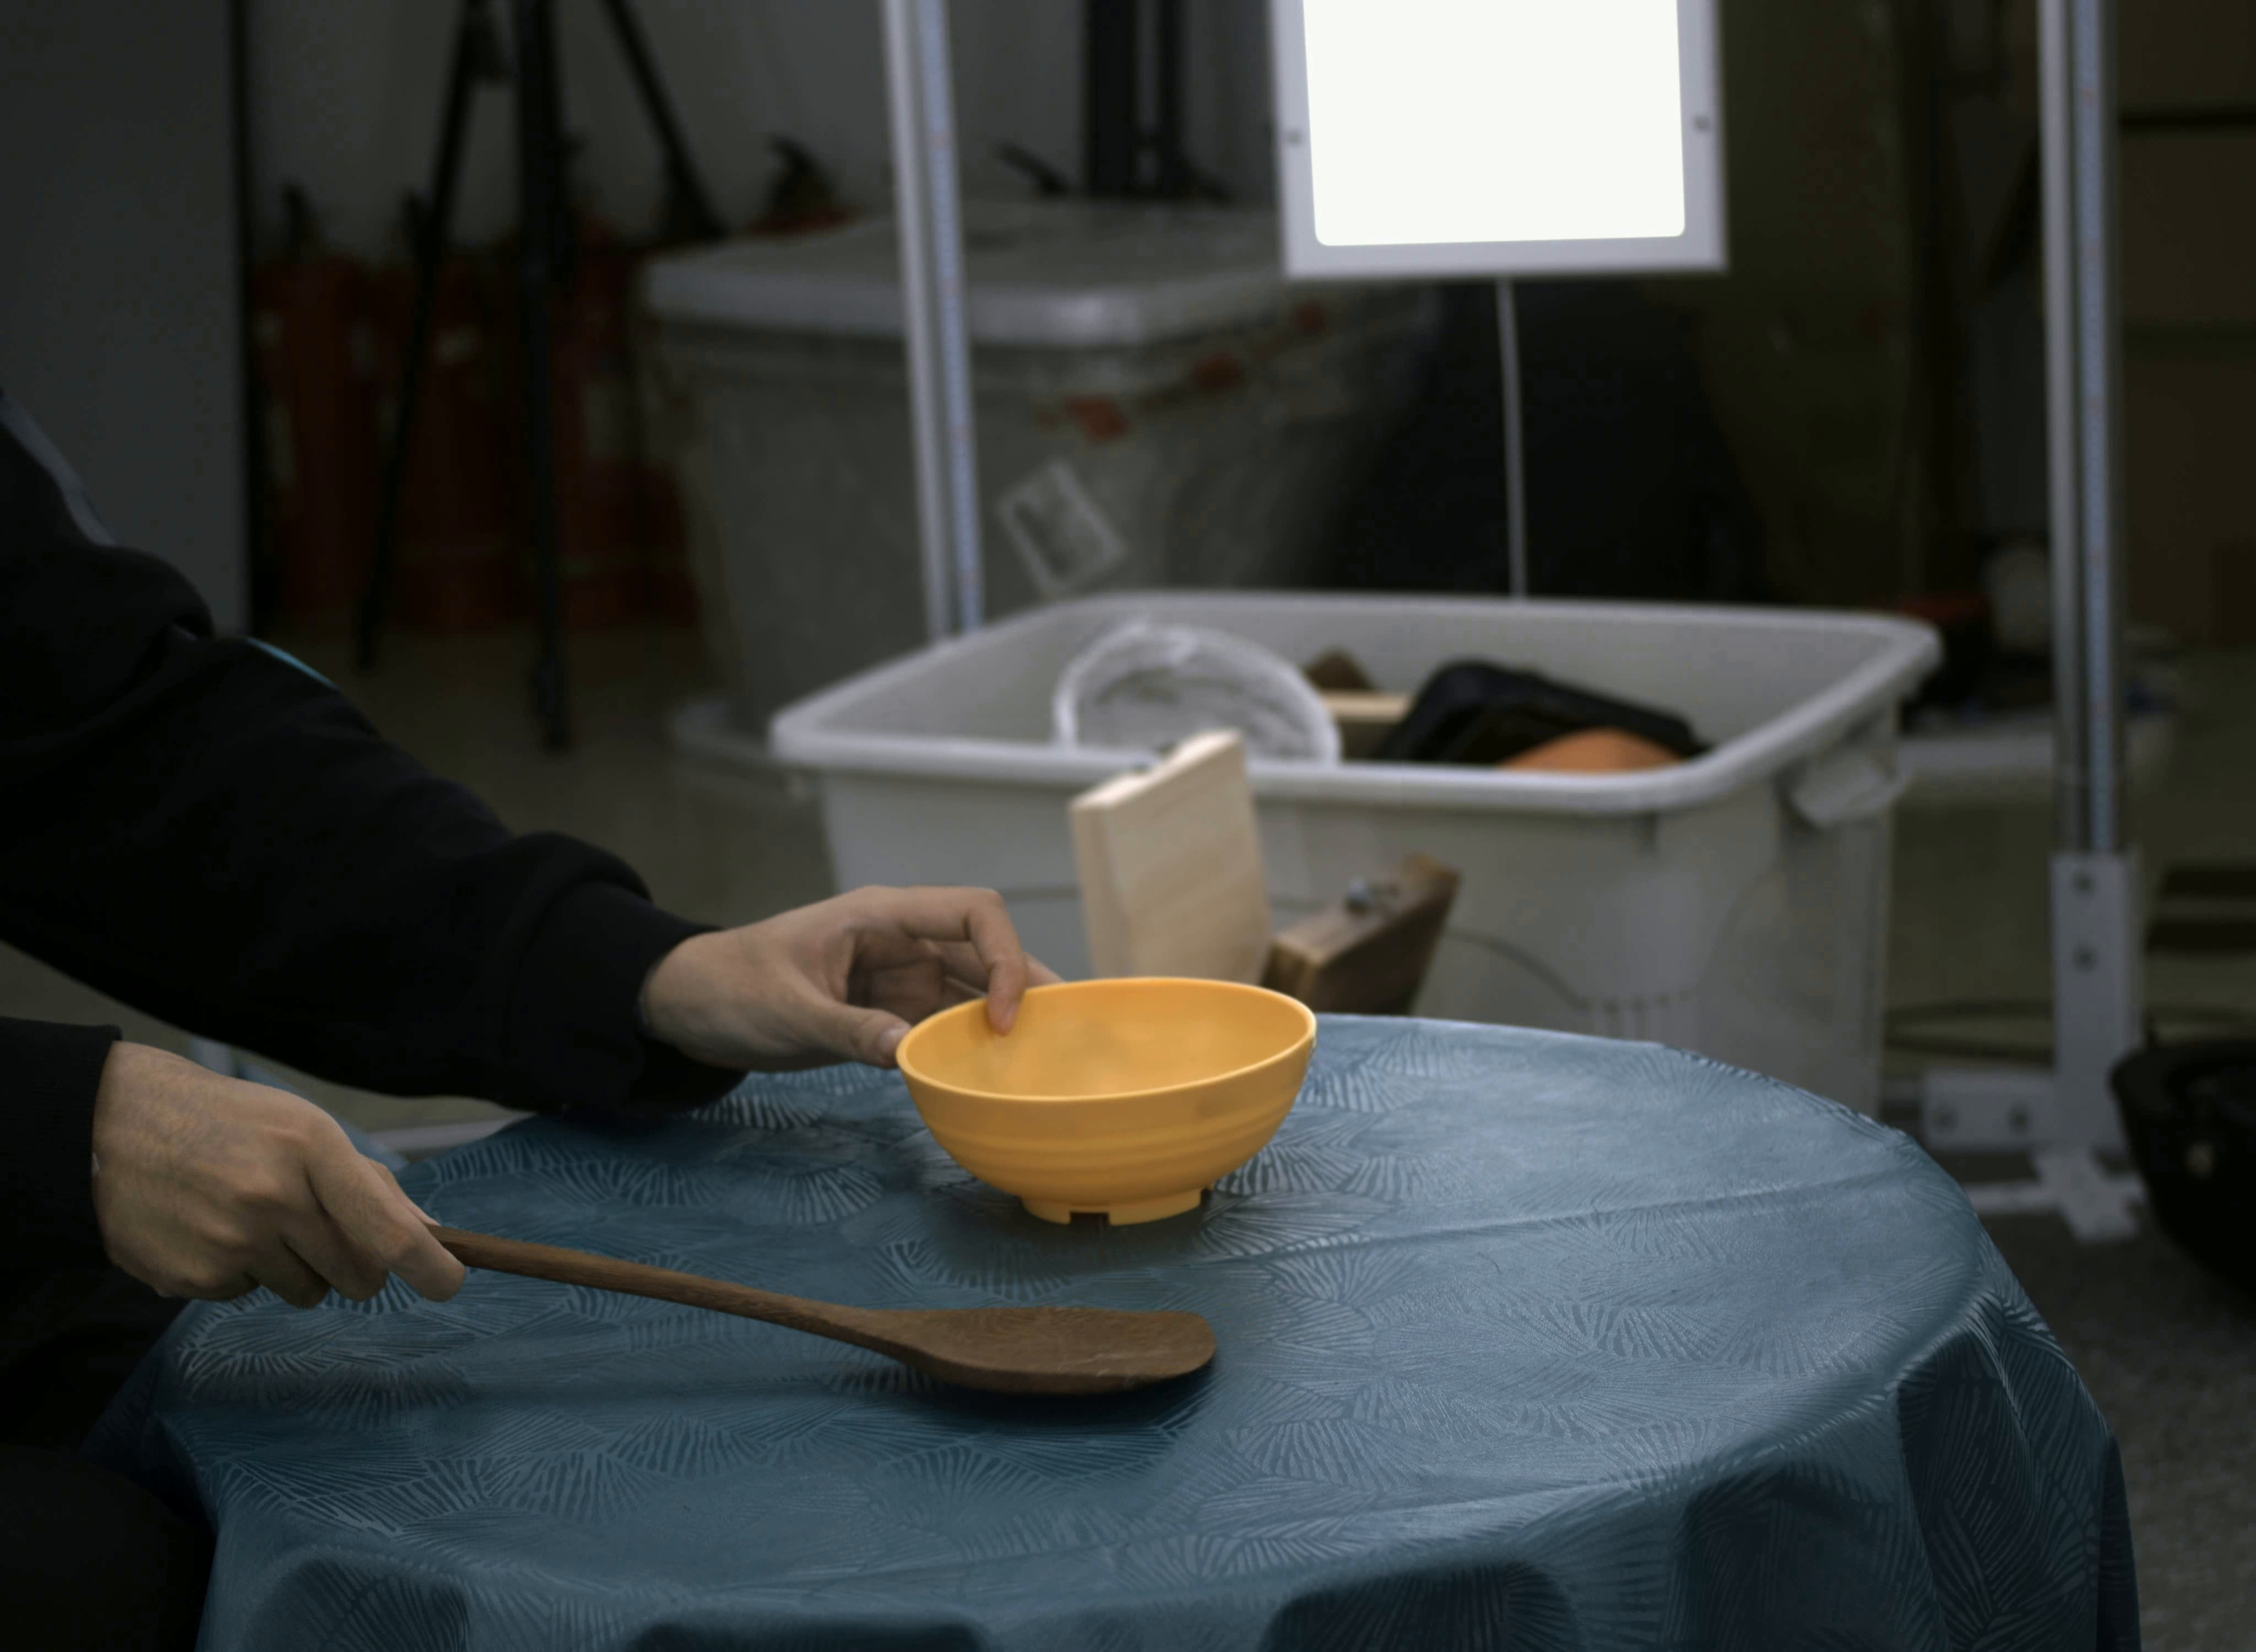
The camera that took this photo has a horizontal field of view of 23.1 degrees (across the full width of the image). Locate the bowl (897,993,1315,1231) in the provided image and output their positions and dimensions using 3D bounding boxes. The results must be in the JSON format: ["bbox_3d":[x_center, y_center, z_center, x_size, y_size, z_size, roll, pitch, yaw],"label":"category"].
[{"bbox_3d":[-0.005,0.101,1.886,0.145,0.060,0.145,-5,12,0],"label":"bowl"}]

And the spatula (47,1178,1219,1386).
[{"bbox_3d":[-0.161,0.142,1.748,0.388,0.016,0.095,8,8,12],"label":"spatula"}]
